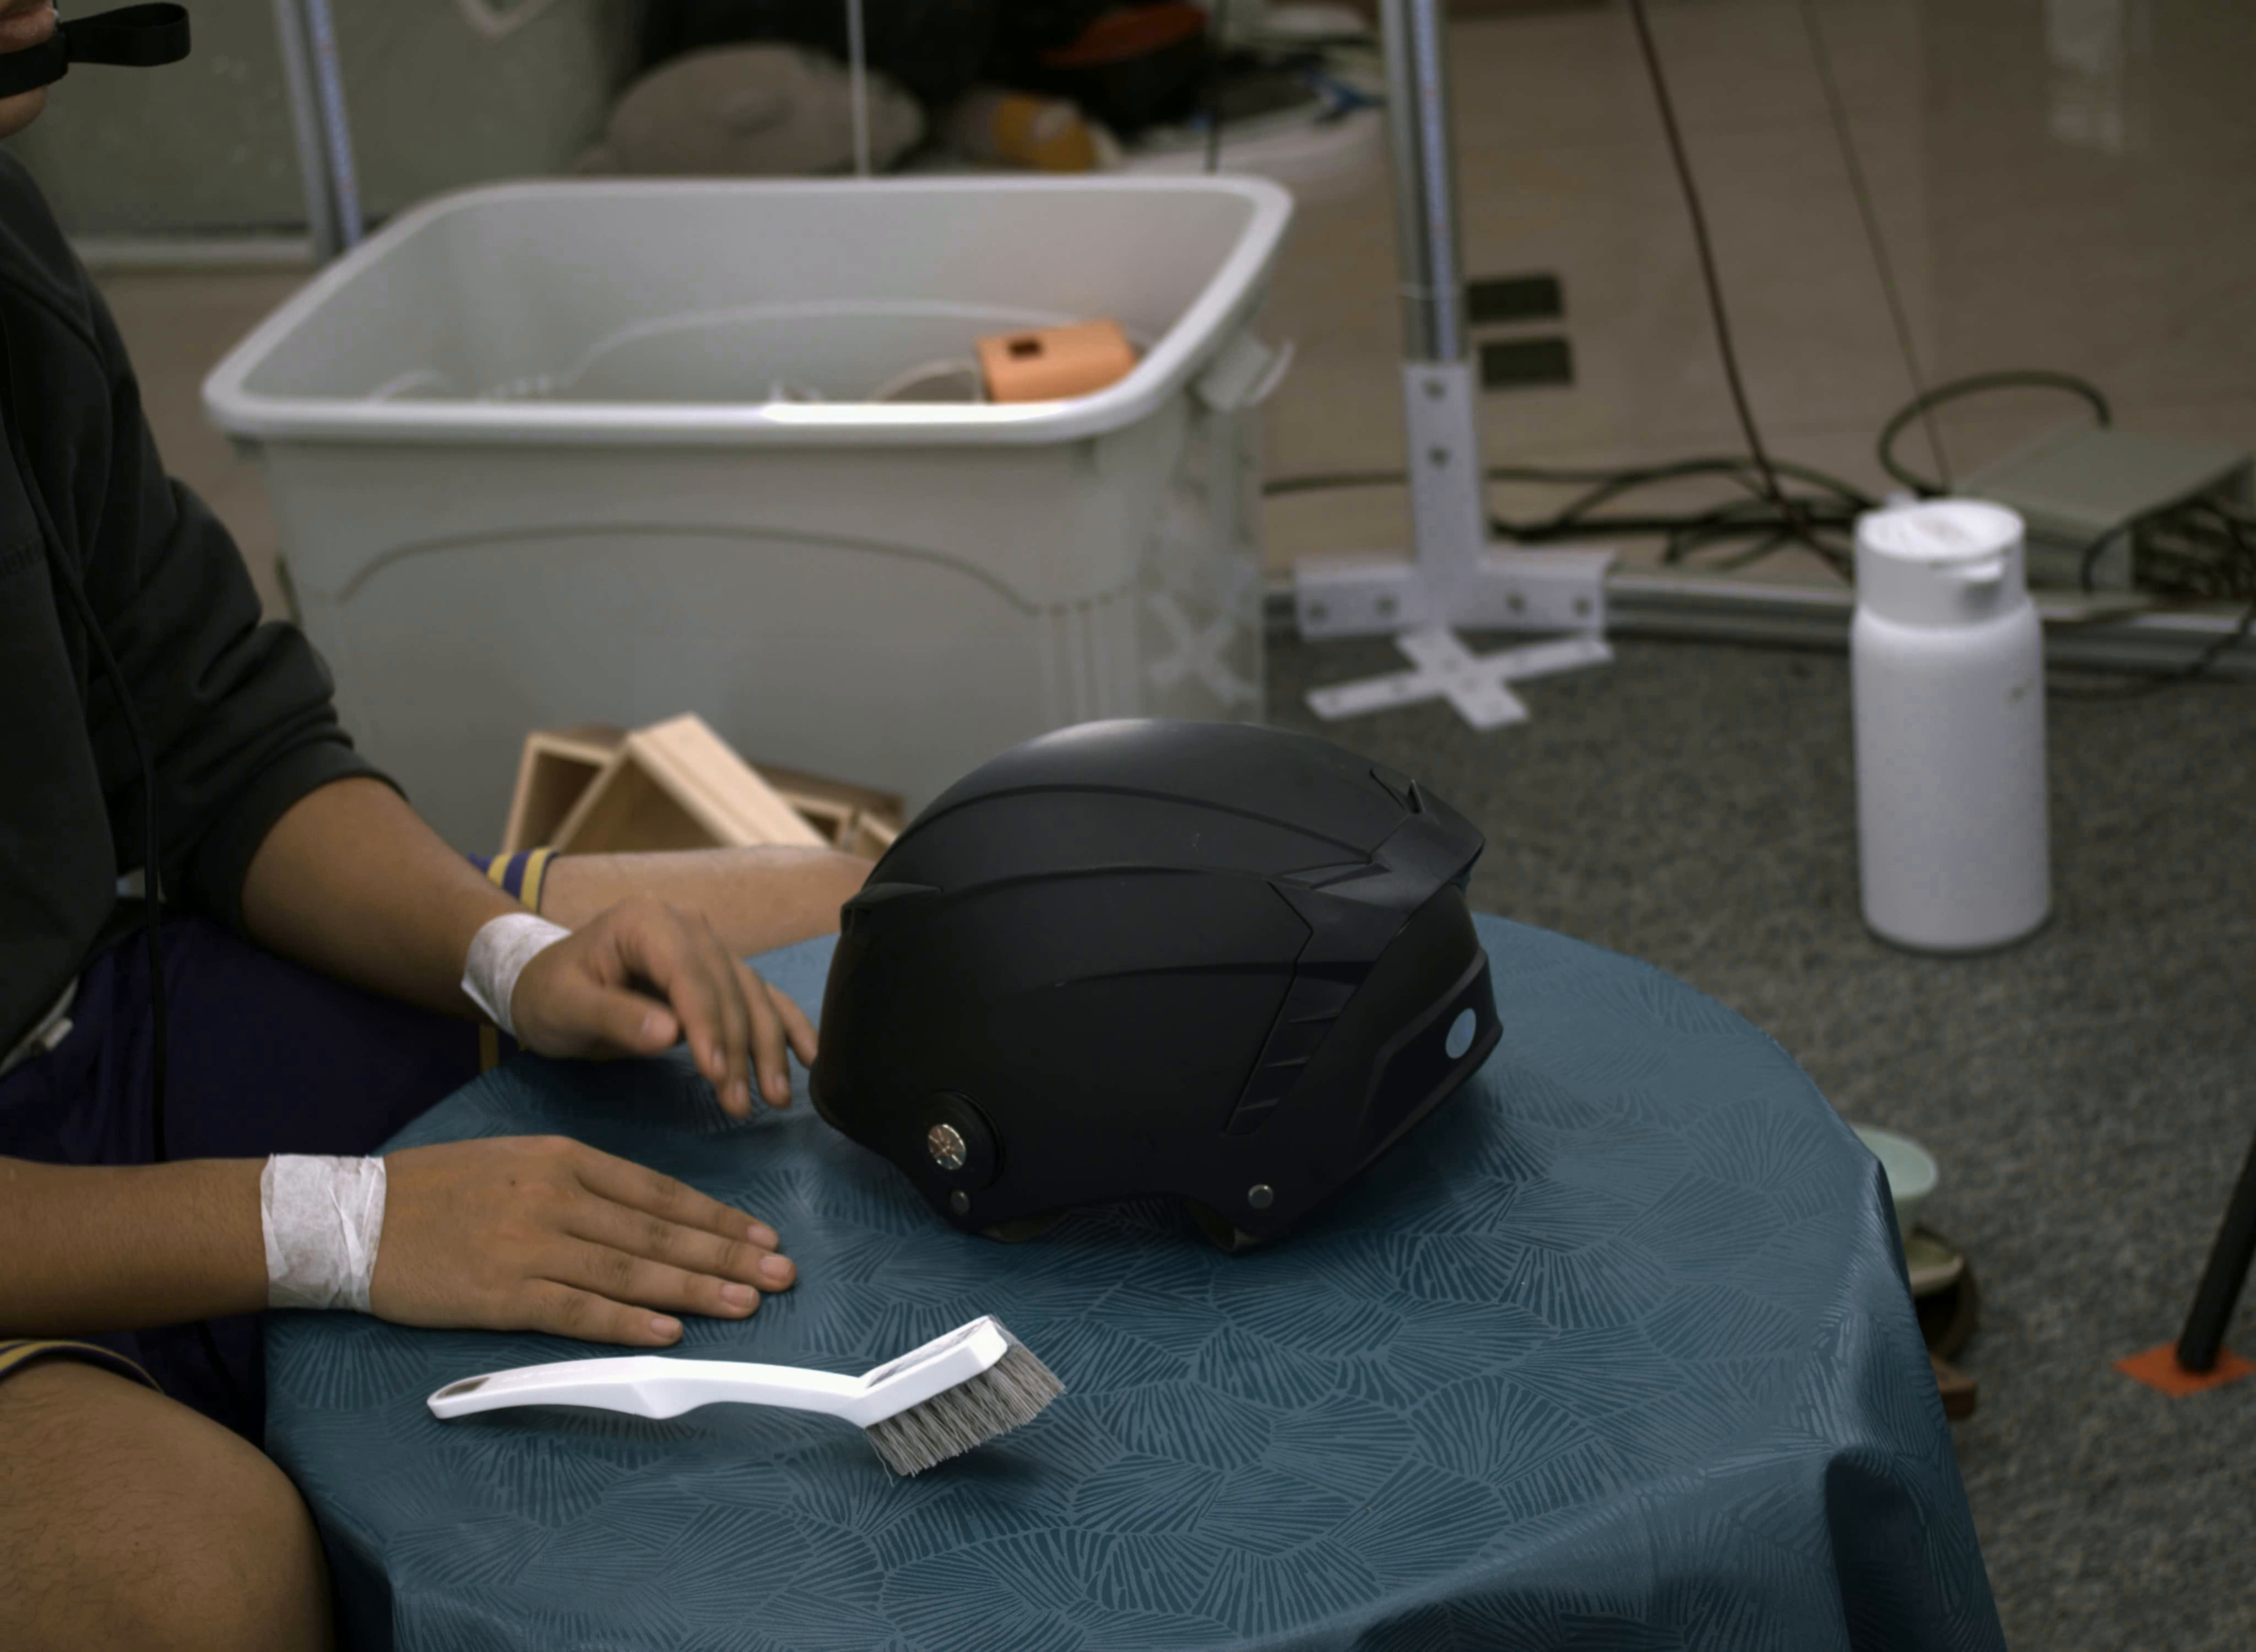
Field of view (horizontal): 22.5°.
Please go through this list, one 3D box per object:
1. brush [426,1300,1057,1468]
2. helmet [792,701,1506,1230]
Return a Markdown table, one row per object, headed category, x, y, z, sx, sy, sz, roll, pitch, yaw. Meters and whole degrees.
| category | x | y | z | sx | sy | sz | roll | pitch | yaw |
| --- | --- | --- | --- | --- | --- | --- | --- | --- | --- |
| brush | -0.138 | 0.209 | 2.005 | 0.244 | 0.051 | 0.034 | -11 | 15 | 25 |
| helmet | 0.007 | 0.041 | 2.162 | 0.275 | 0.175 | 0.244 | 10 | 30 | 28 |
